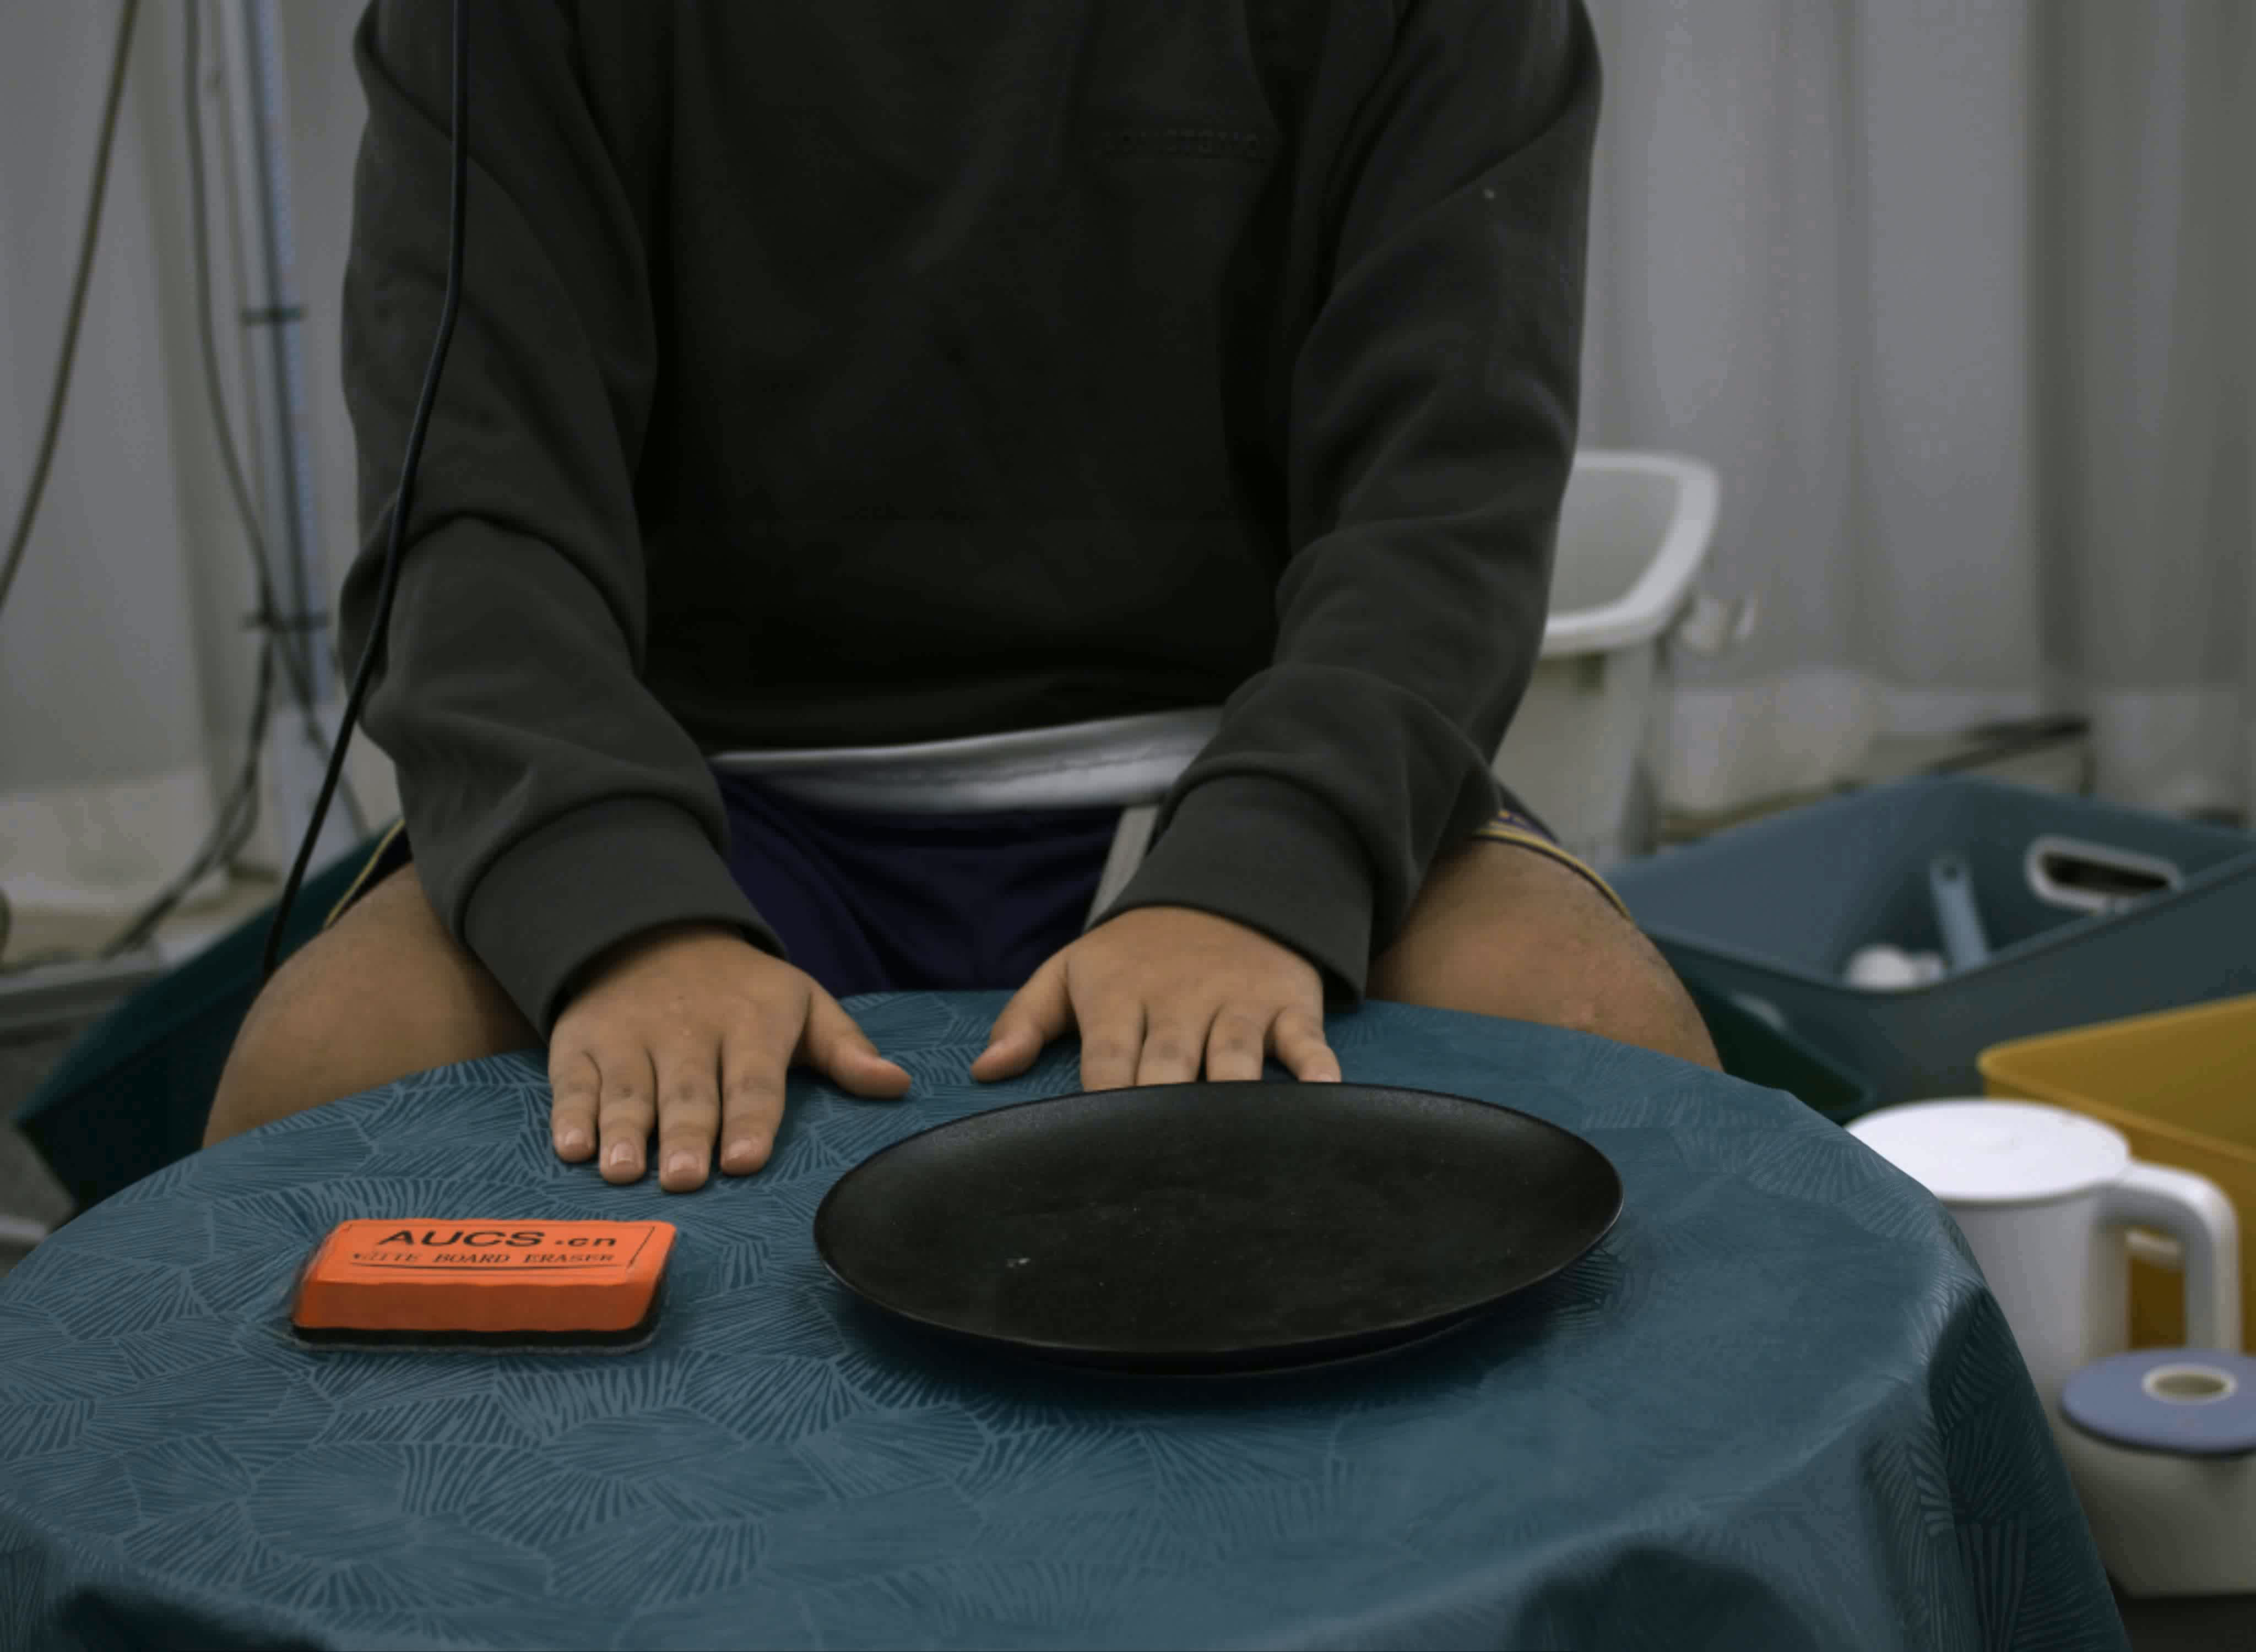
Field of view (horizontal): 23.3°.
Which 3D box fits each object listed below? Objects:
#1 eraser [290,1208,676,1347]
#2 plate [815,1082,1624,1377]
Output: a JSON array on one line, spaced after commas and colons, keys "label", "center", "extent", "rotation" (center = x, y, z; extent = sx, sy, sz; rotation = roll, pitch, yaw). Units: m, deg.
[{"label": "eraser", "center": [-0.191, 0.134, 1.625], "extent": [0.108, 0.023, 0.059], "rotation": [1, 16, 8]}, {"label": "plate", "center": [0.028, 0.123, 1.636], "extent": [0.243, 0.023, 0.246], "rotation": [-3, 15, 0]}]
